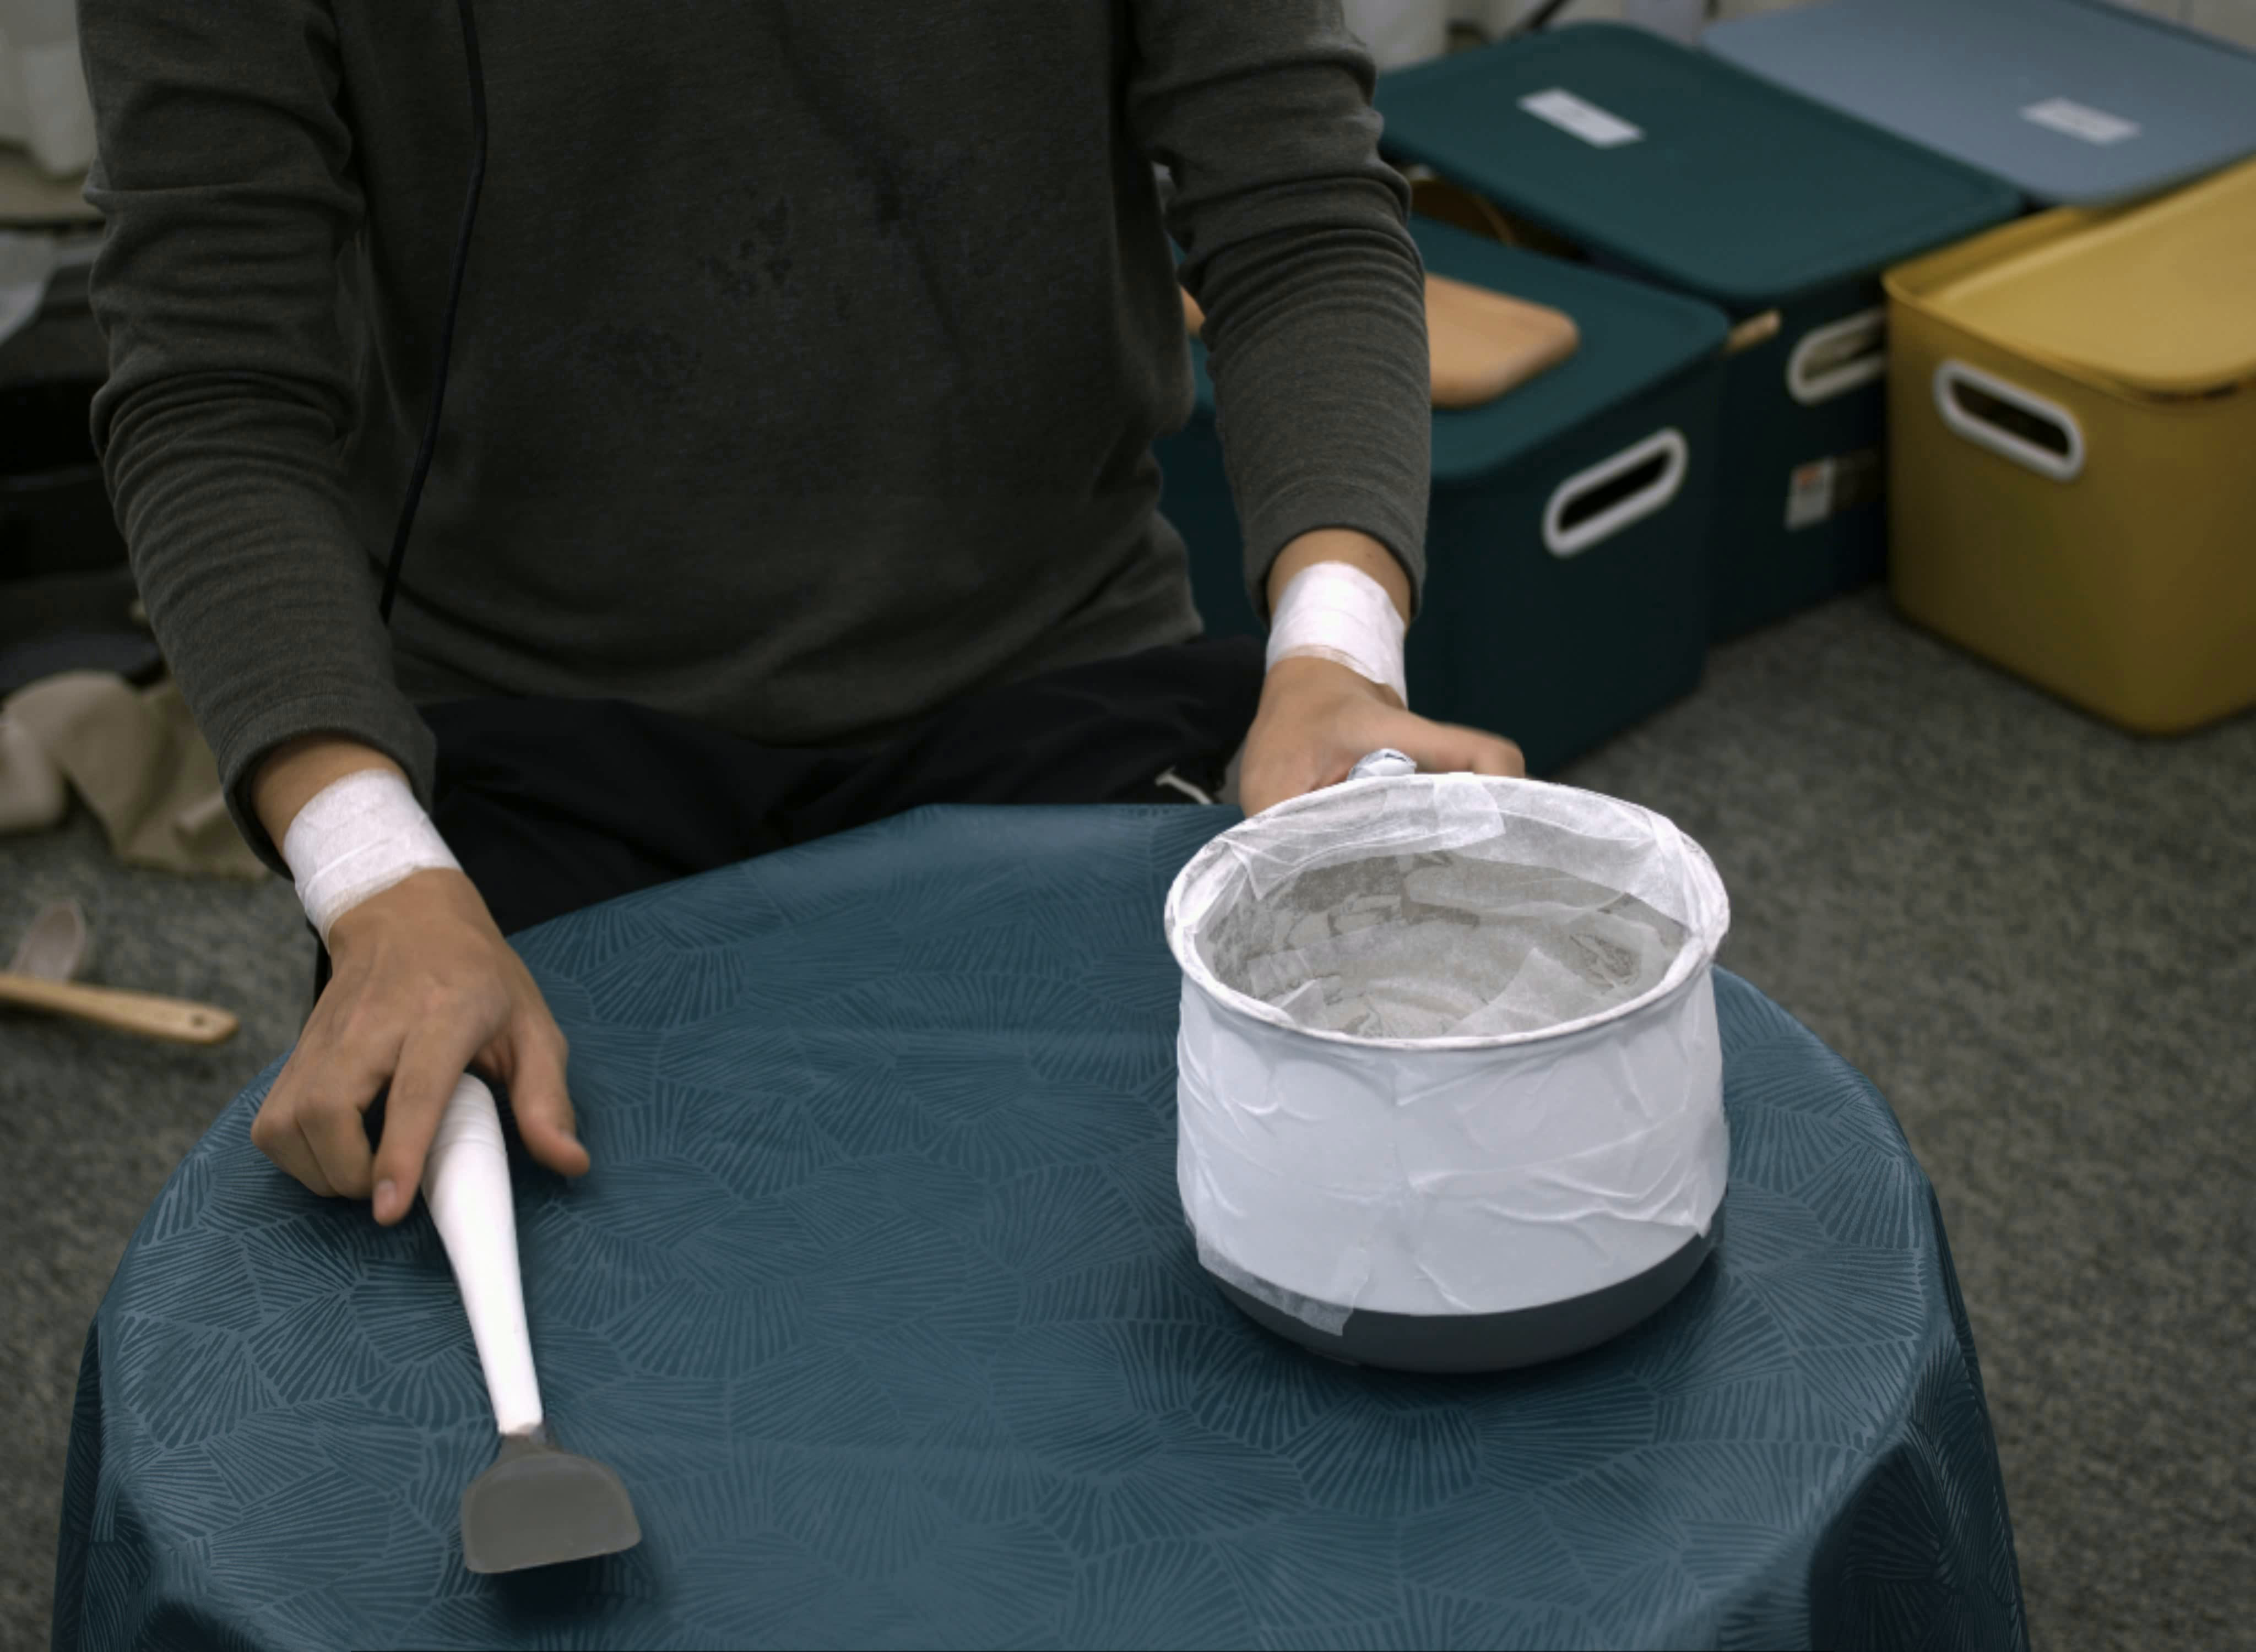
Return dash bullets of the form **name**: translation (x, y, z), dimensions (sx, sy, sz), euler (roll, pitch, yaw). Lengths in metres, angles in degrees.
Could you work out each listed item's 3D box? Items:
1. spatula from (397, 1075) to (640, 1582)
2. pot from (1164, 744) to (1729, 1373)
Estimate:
- **spatula**: translation (-0.198, 0.161, 1.767), dimensions (0.058, 0.032, 0.291), euler (-5, 27, -12)
- **pot**: translation (0.098, 0.067, 1.810), dimensions (0.178, 0.135, 0.236), euler (-6, 27, -8)
